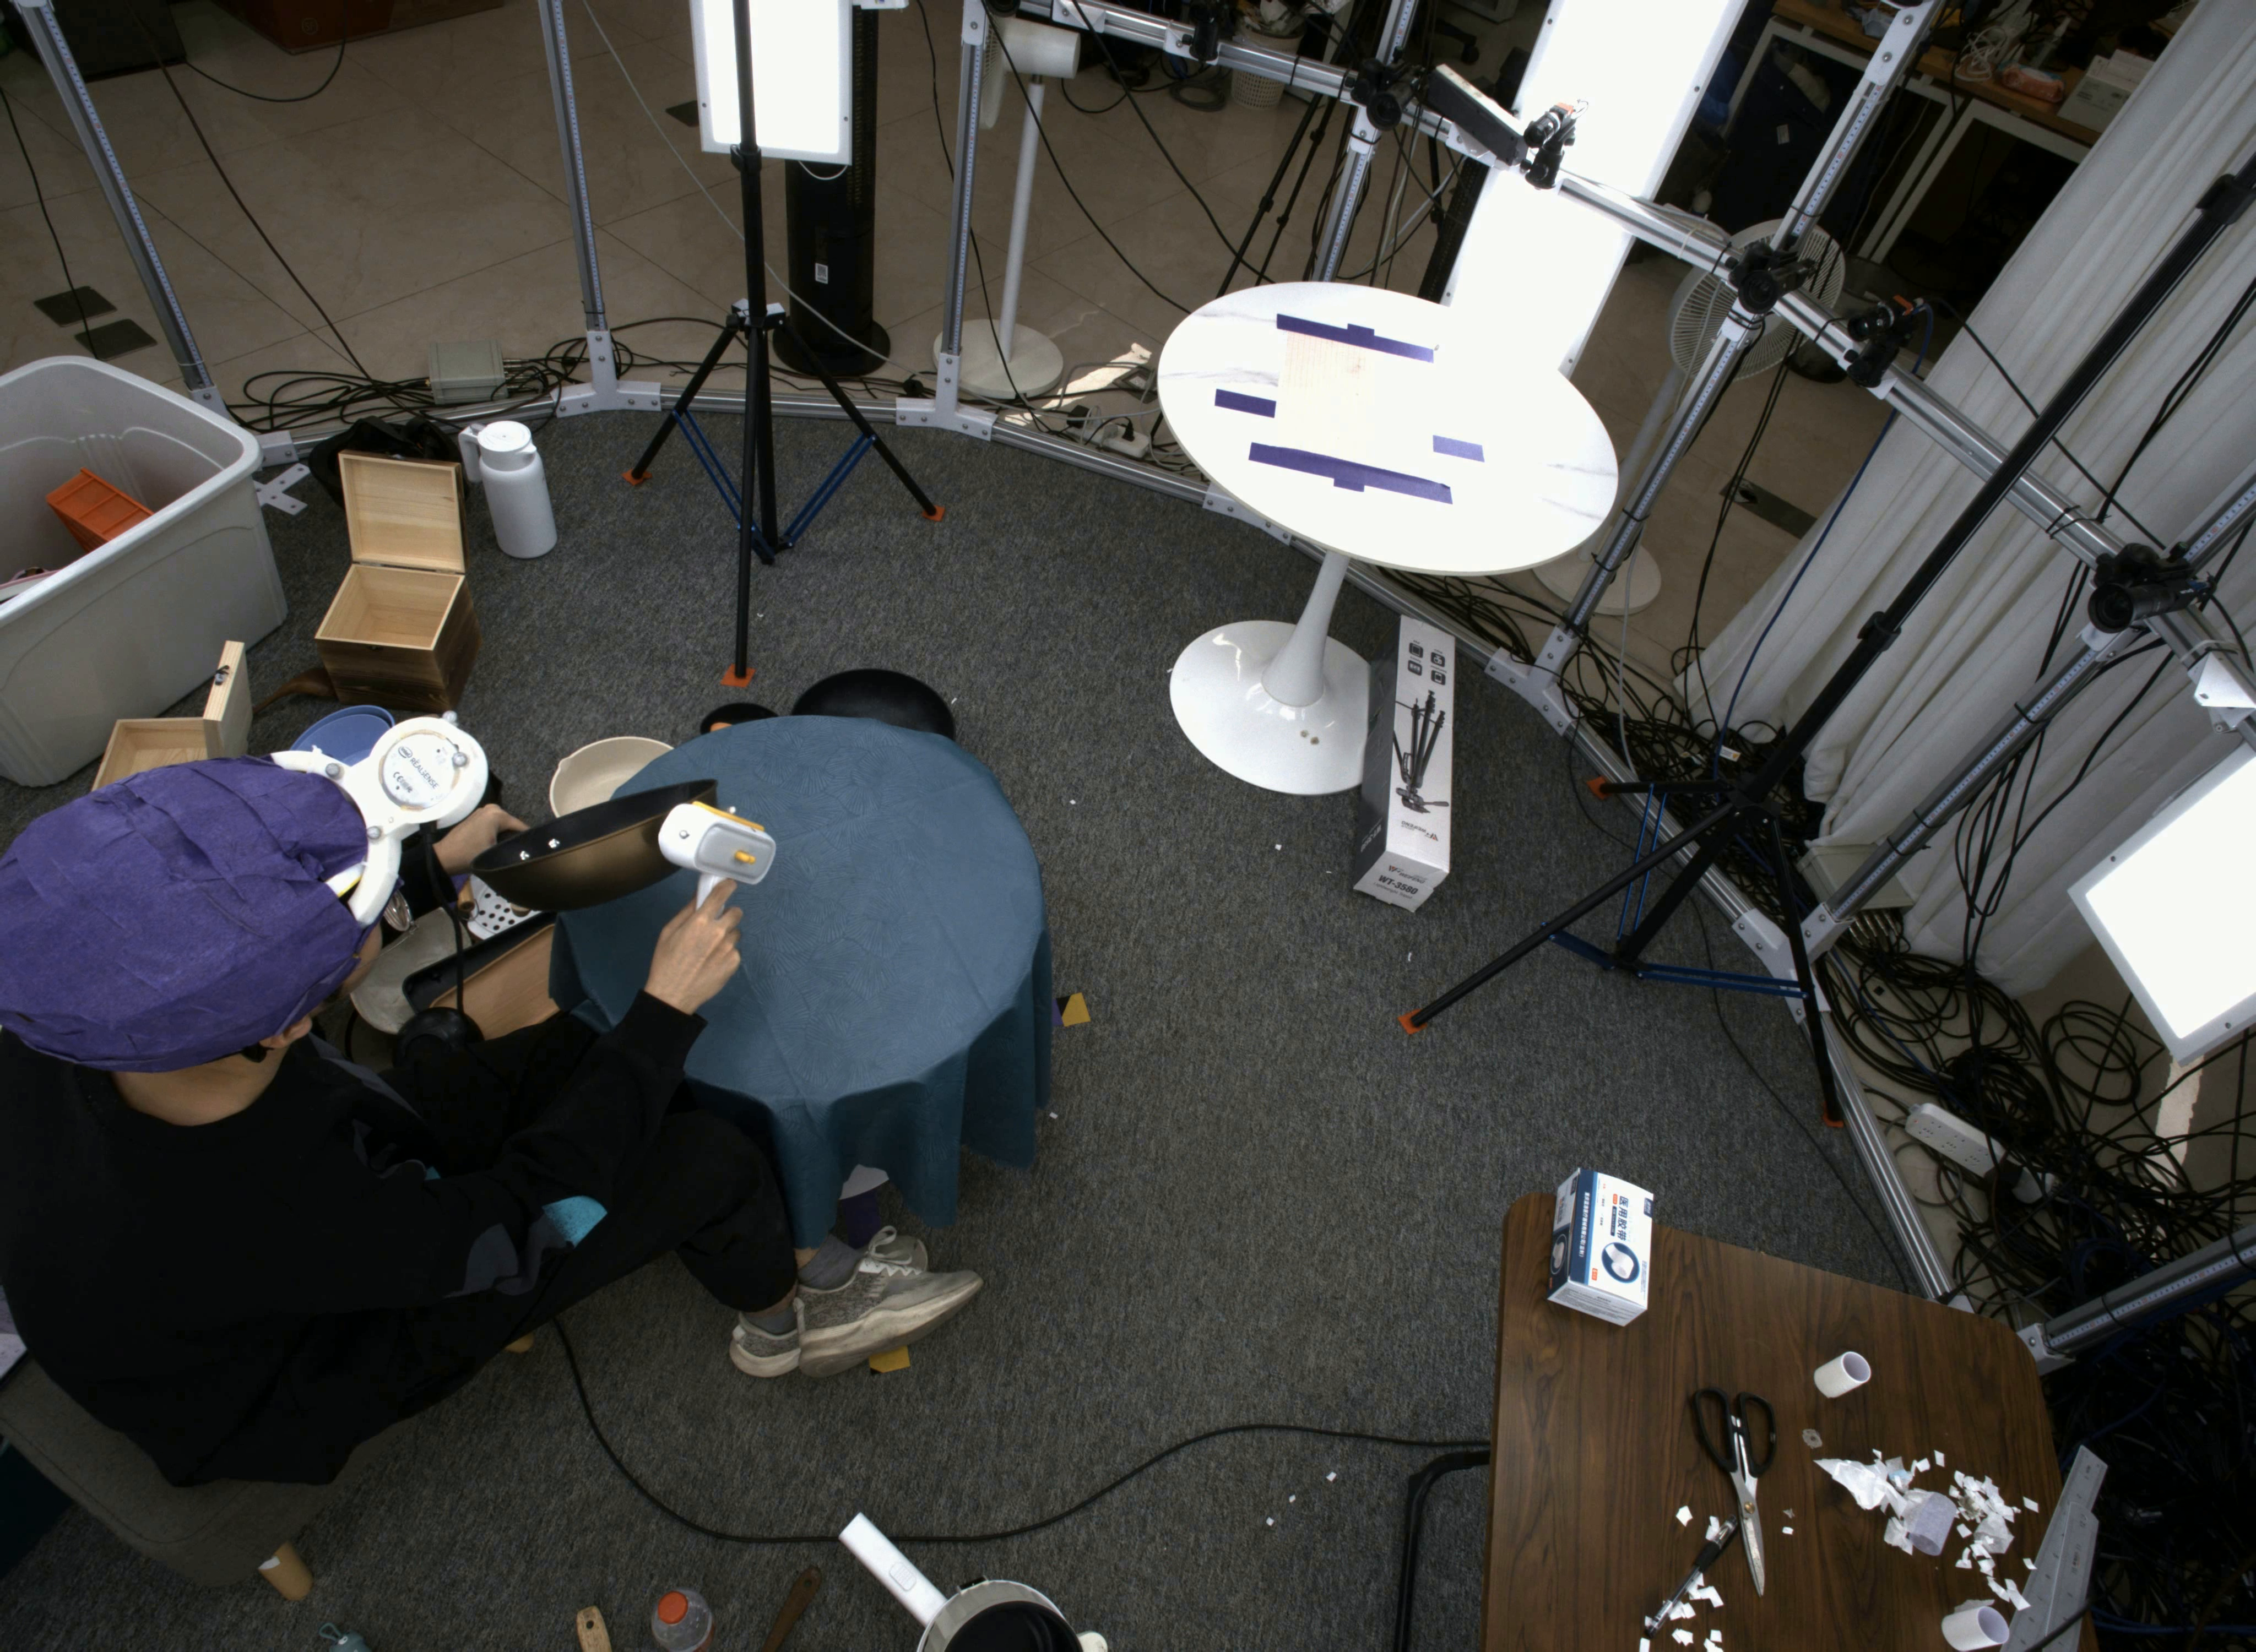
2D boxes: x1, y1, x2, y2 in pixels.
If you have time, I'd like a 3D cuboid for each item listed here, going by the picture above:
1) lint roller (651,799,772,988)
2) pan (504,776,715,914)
[{"bbox_3d":[-0.458,0.074,1.406,0.073,0.194,0.194,13,87,7],"label":"lint roller"},{"bbox_3d":[-0.663,0.036,1.492,0.450,0.089,0.289,-7,17,33],"label":"pan"}]
